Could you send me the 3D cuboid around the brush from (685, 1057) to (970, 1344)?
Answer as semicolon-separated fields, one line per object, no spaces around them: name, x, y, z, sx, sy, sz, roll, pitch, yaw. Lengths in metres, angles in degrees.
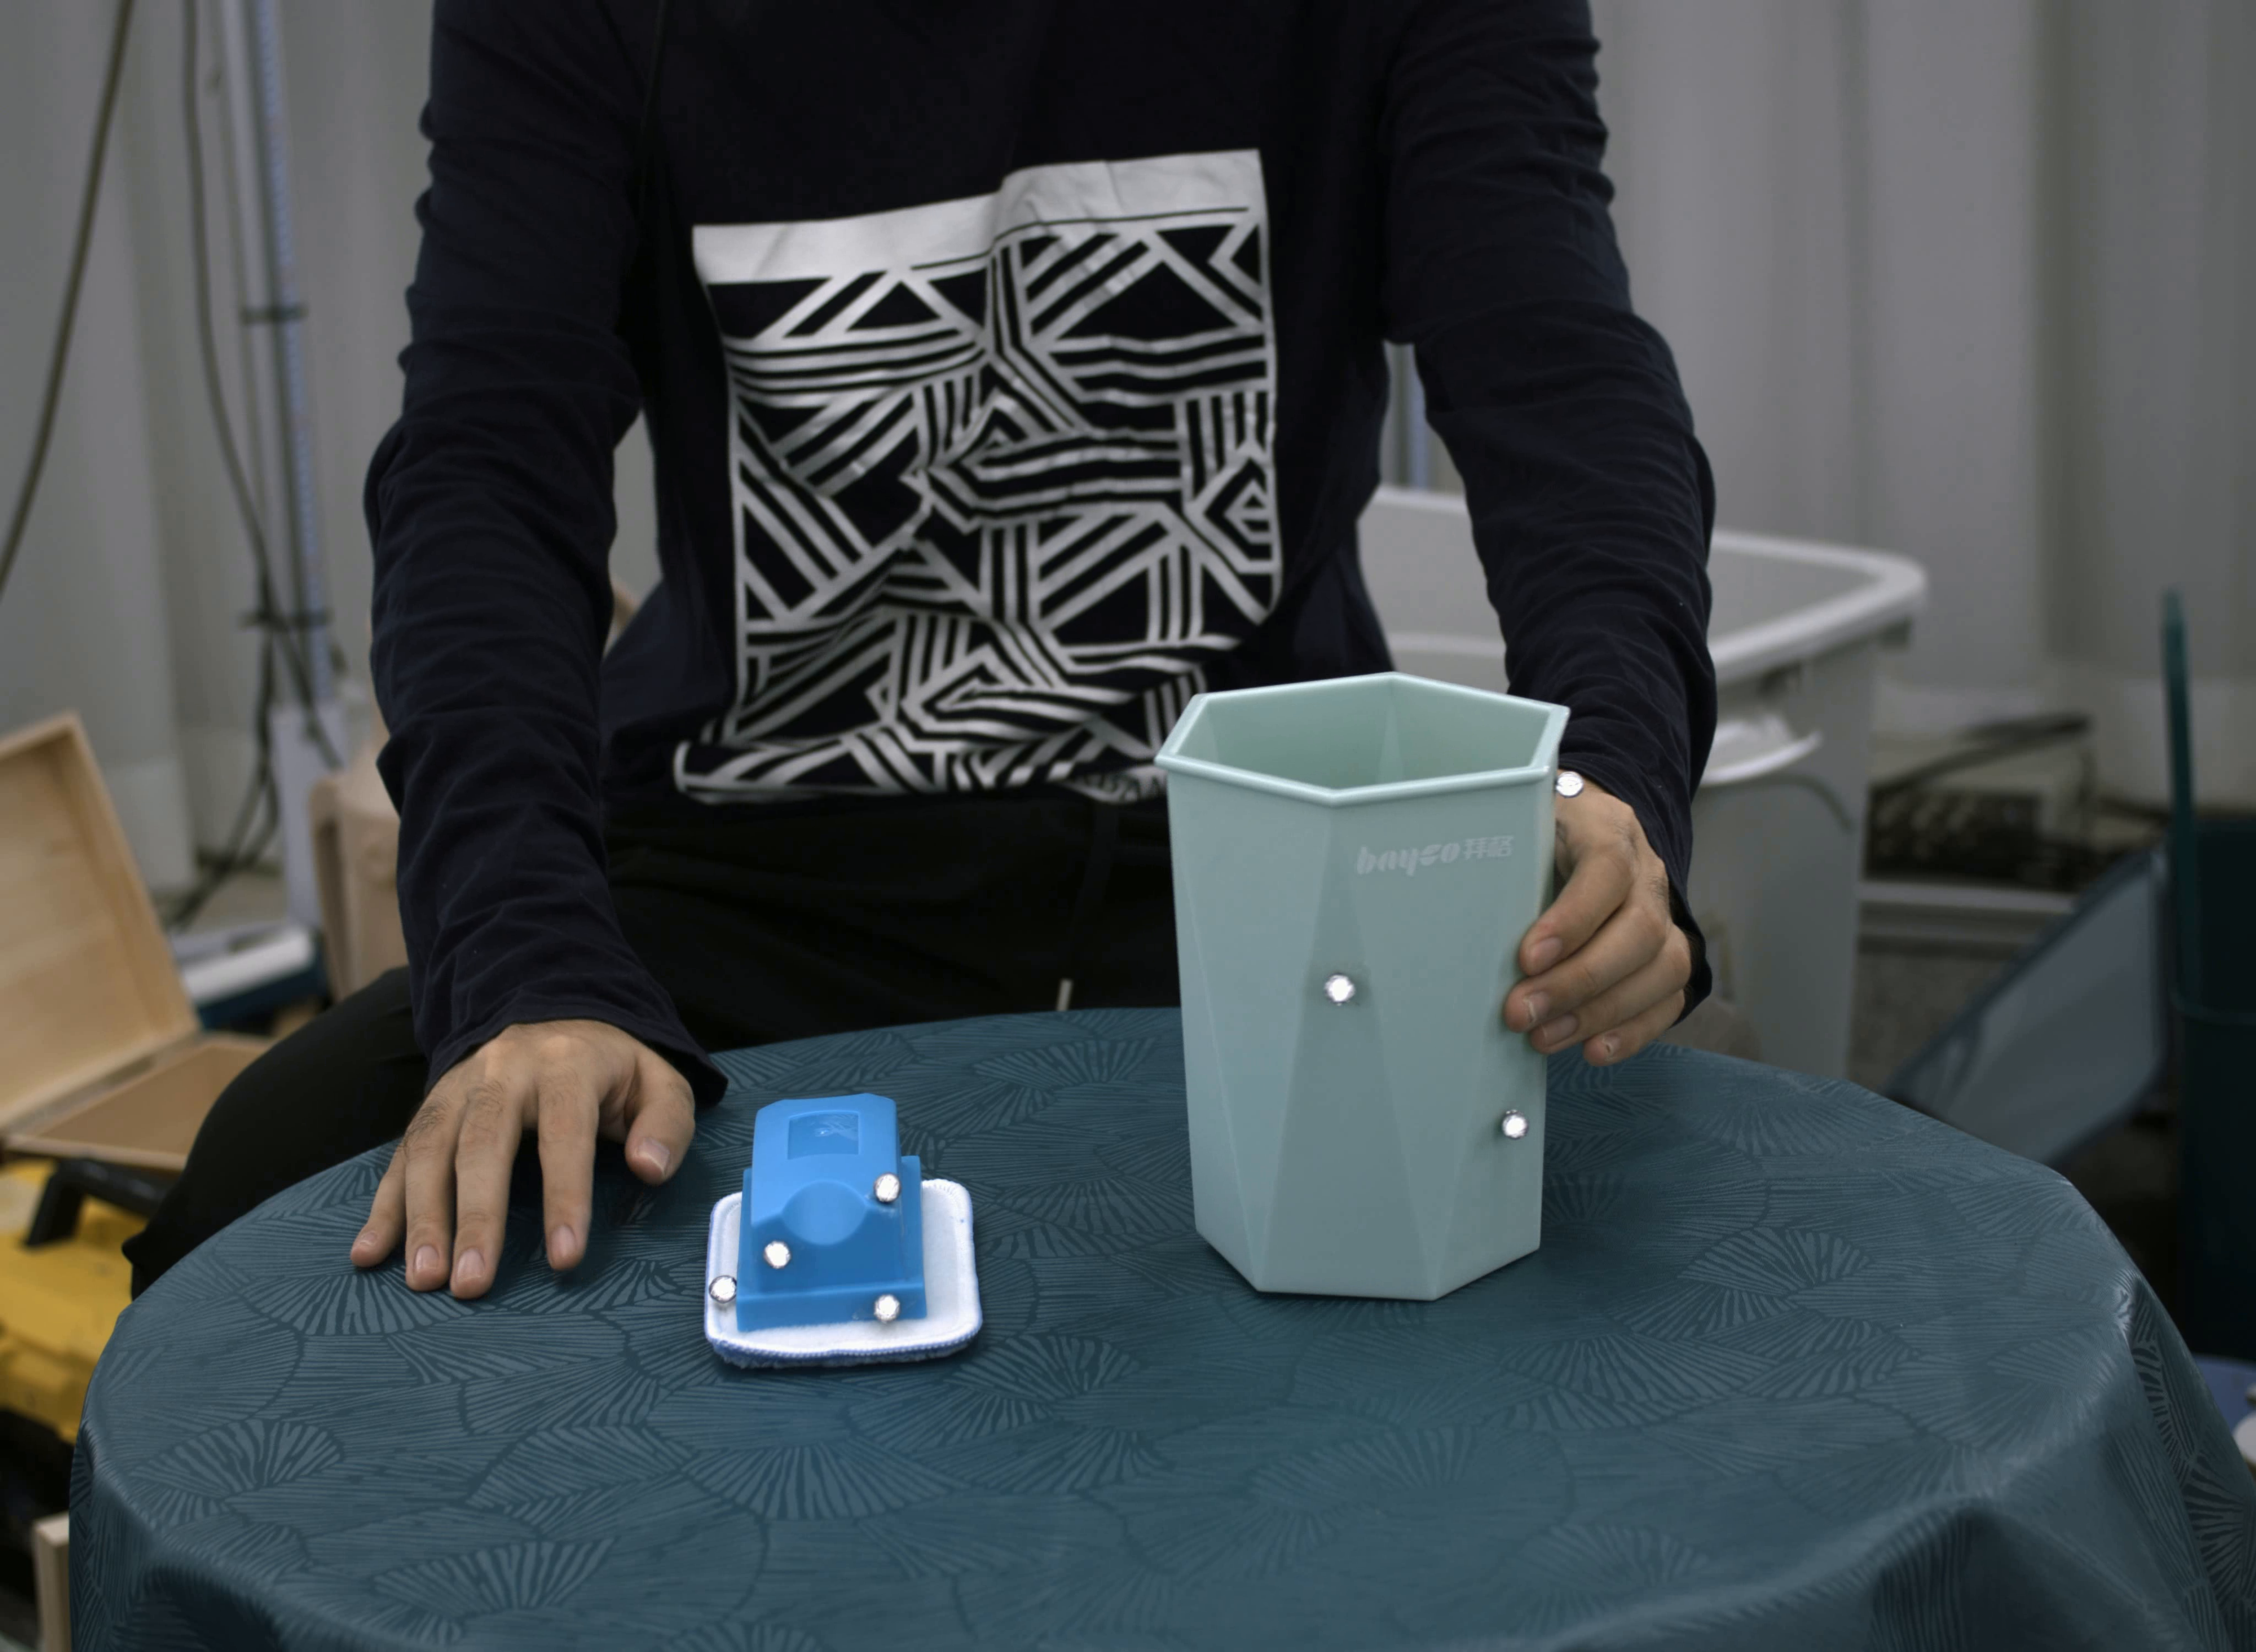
brush;-0.089;0.109;1.637;0.083;0.055;0.145;0;17;-1

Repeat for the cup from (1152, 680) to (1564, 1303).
cup;0.071;0.050;1.627;0.130;0.162;0.116;-7;14;-19
